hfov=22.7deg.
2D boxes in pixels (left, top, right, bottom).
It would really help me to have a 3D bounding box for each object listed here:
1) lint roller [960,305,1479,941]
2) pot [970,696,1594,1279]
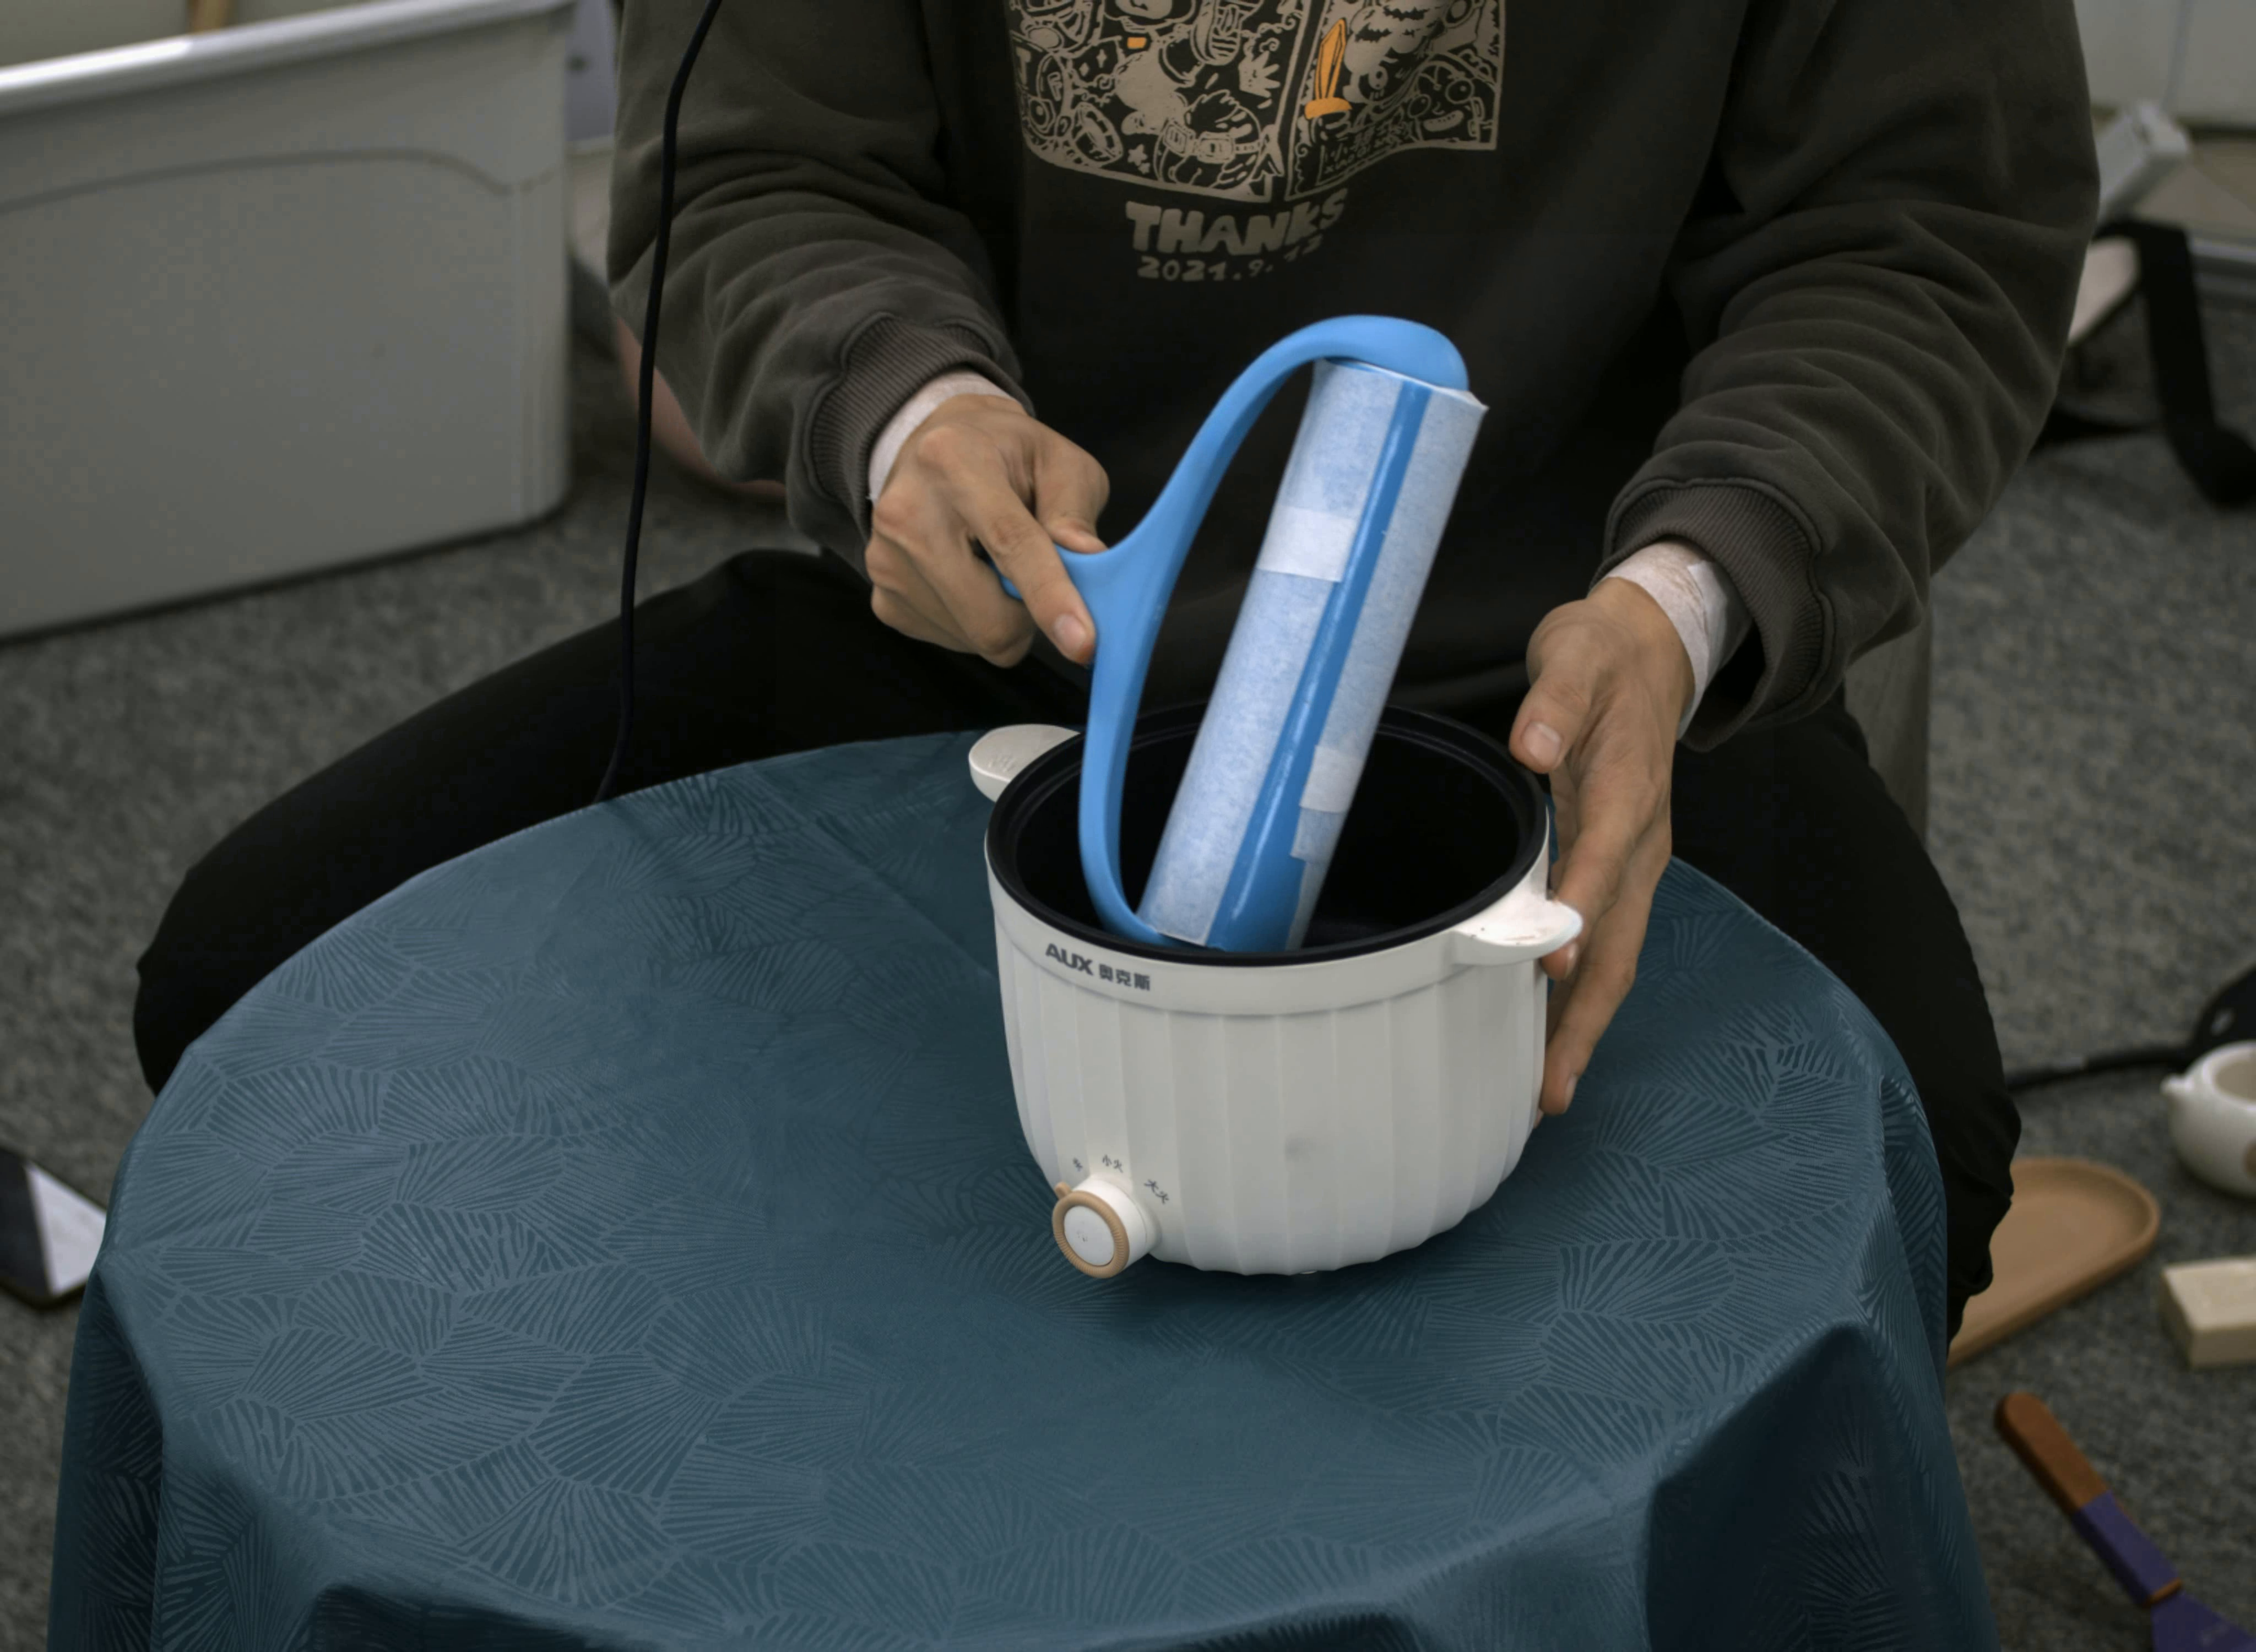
[{"bbox_3d":[0.007,-0.070,1.834,0.179,0.230,0.068,16,1,28],"label":"lint roller"},{"bbox_3d":[0.046,0.058,1.829,0.239,0.141,0.193,16,30,35],"label":"pot"}]
